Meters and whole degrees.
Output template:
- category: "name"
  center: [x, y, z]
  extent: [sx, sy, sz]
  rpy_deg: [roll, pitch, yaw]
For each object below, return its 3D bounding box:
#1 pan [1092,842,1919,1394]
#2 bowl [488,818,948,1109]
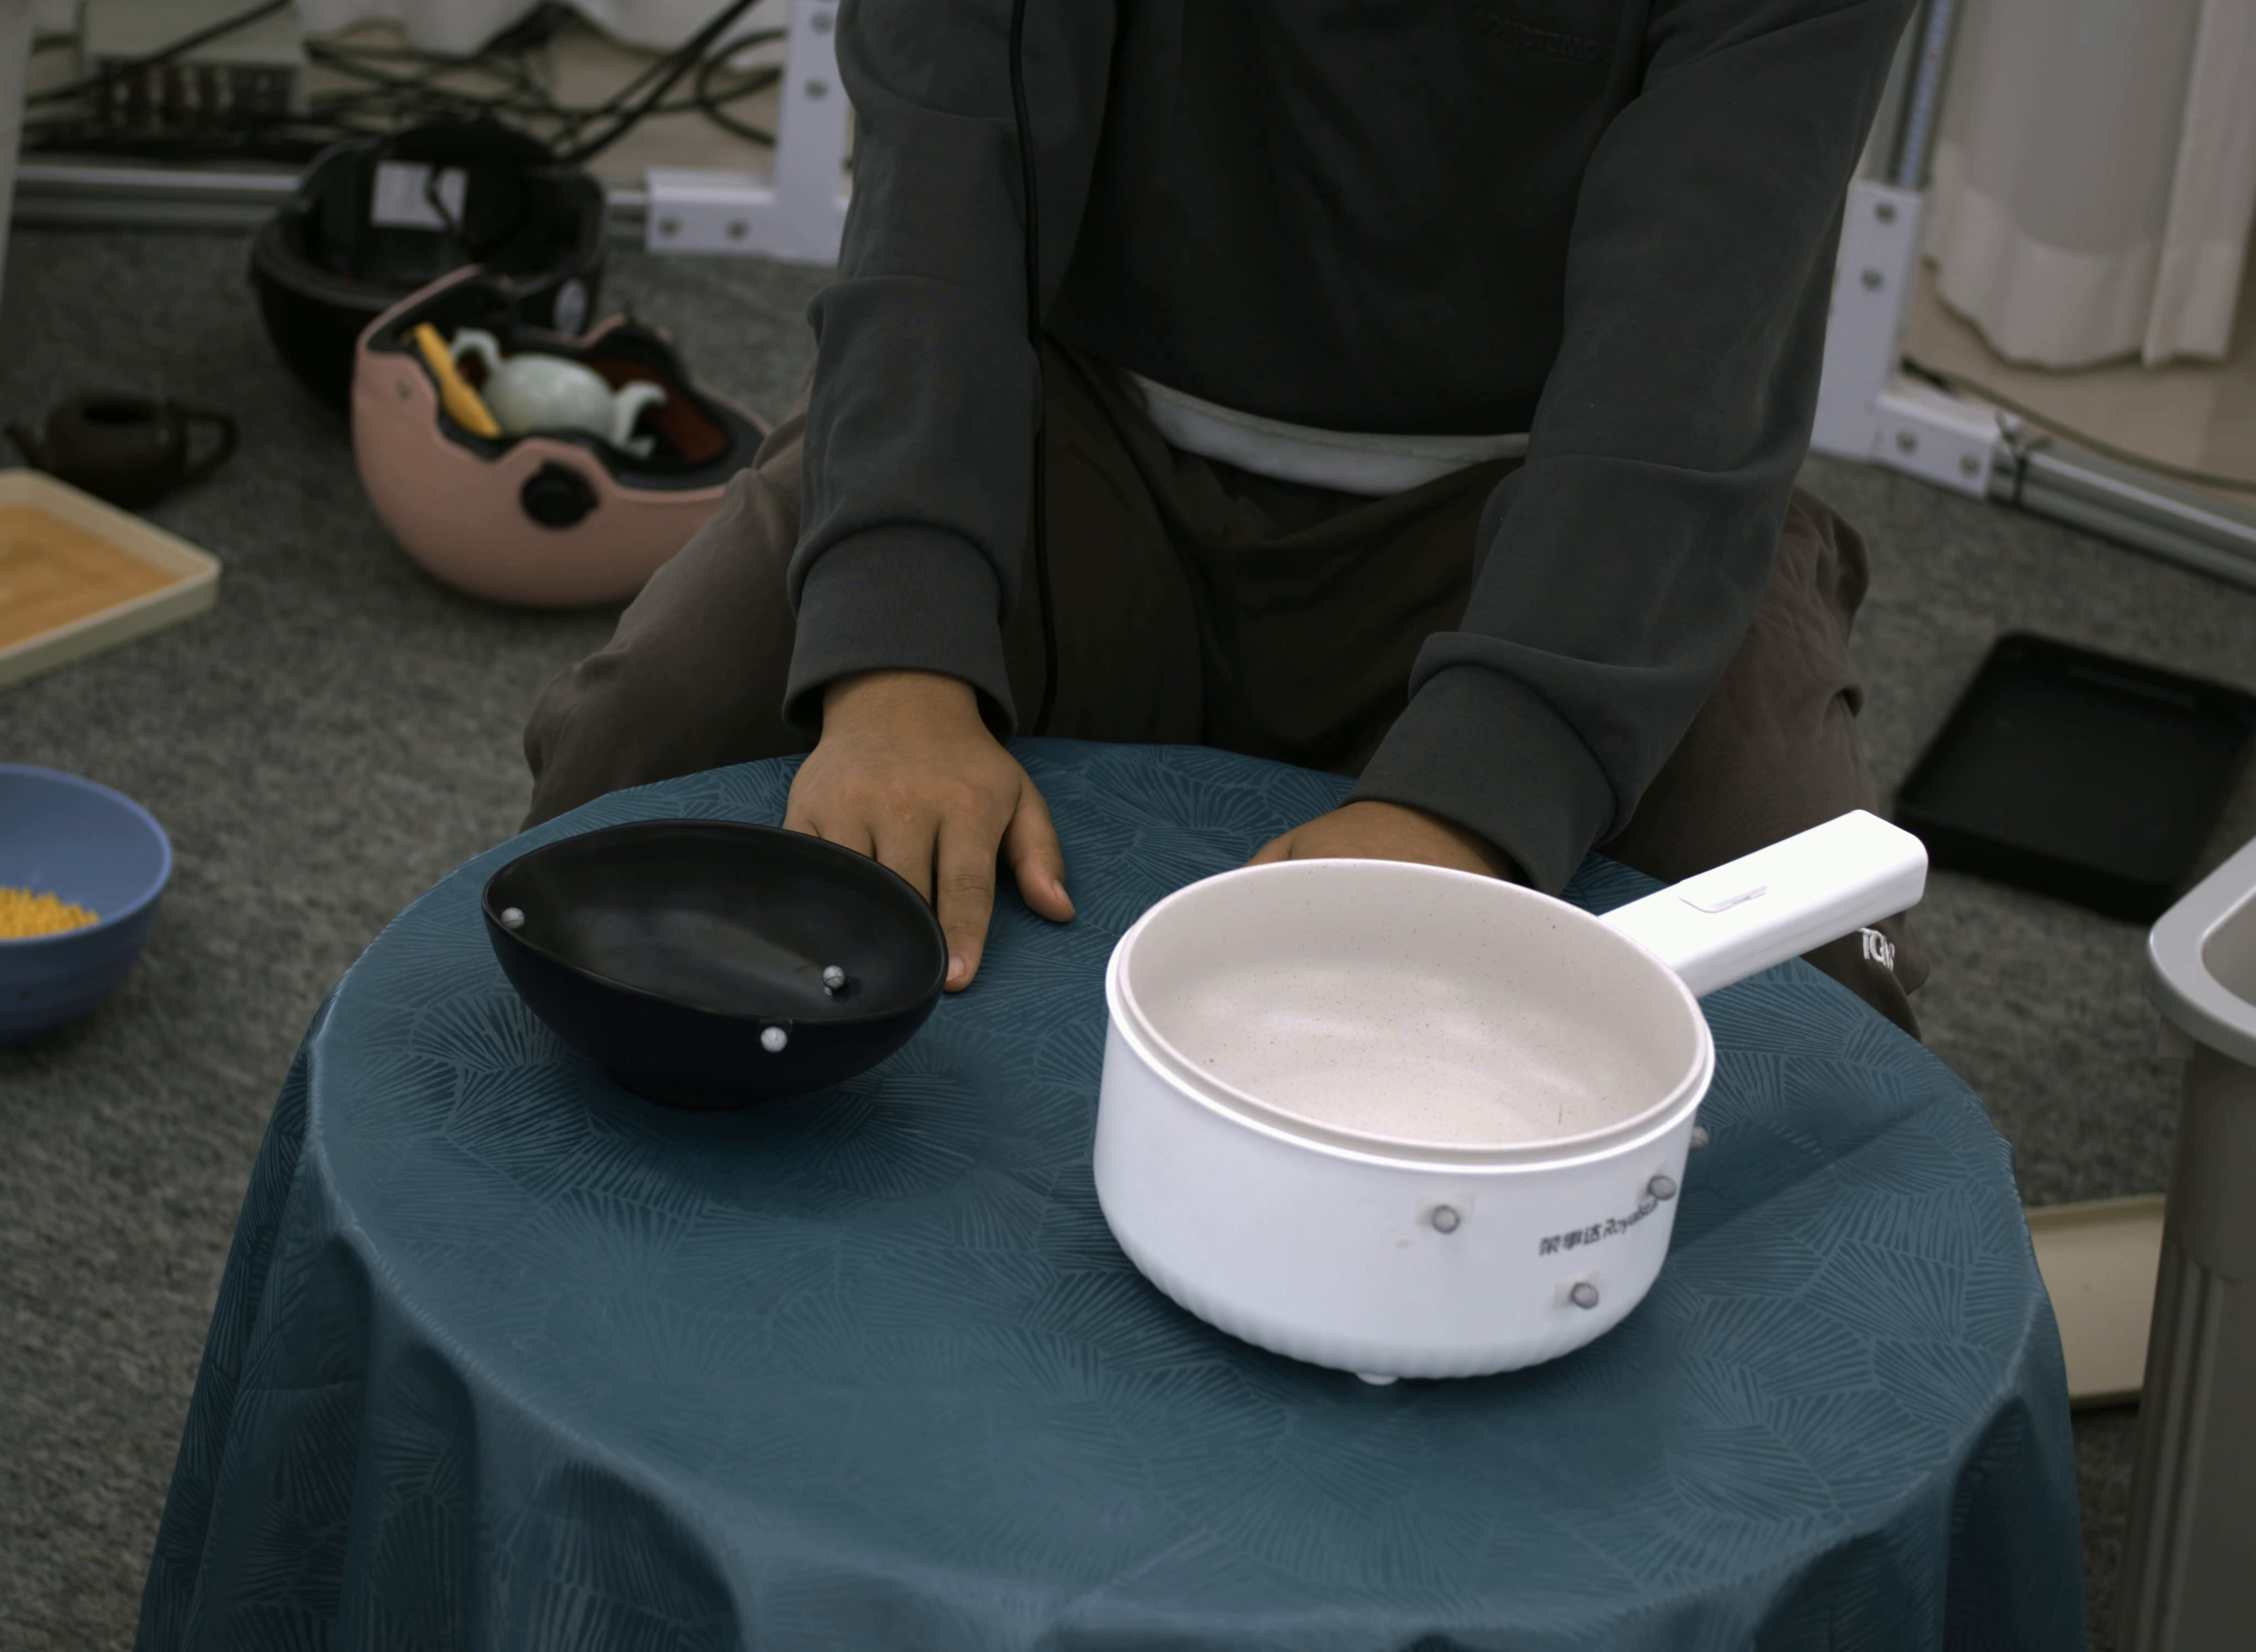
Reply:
- category: "pan"
  center: [0.141, 0.090, 1.815]
  extent: [0.353, 0.102, 0.203]
  rpy_deg: [-17, 31, -42]
- category: "bowl"
  center: [-0.145, 0.055, 1.836]
  extent: [0.171, 0.066, 0.137]
  rpy_deg: [17, 28, 22]
